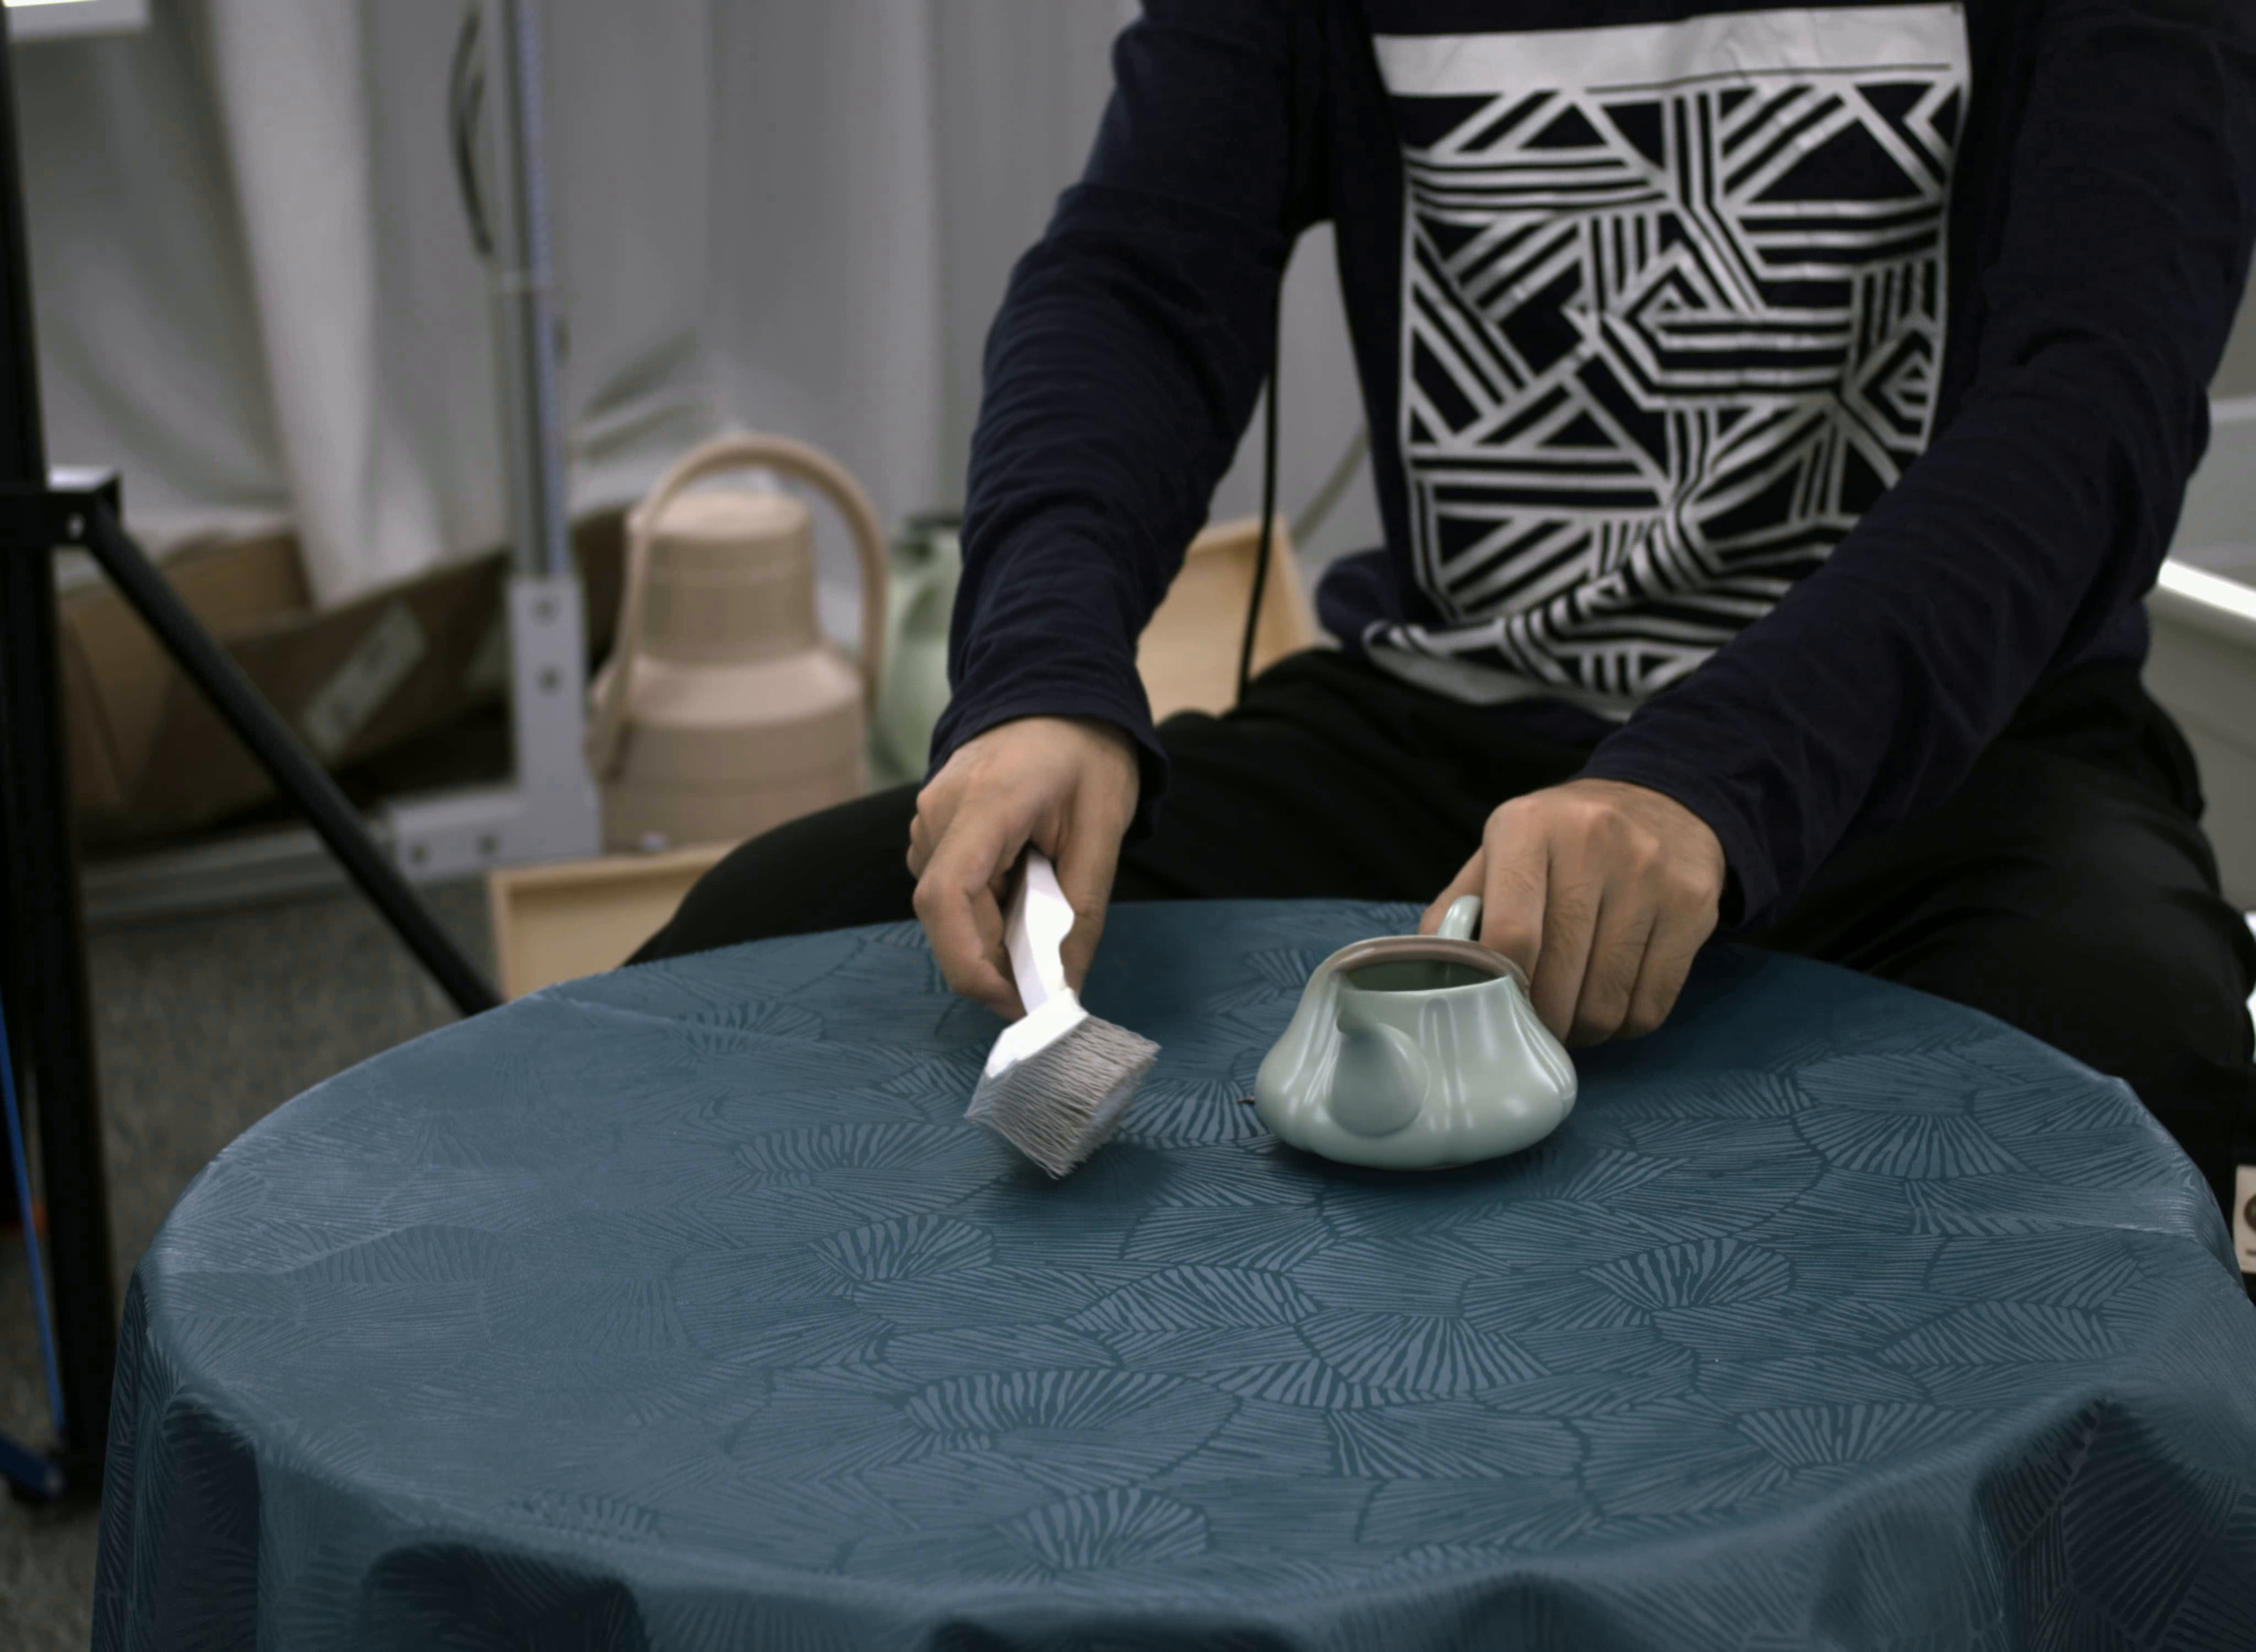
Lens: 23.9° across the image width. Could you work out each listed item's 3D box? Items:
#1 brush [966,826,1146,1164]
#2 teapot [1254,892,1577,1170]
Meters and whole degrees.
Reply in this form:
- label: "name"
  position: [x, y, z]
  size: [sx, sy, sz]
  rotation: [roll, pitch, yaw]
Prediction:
- label: "brush"
  position: [-0.021, 0.049, 1.663]
  size: [0.050, 0.034, 0.244]
  rotation: [19, 15, -6]
- label: "teapot"
  position: [0.087, 0.065, 1.589]
  size: [0.097, 0.061, 0.135]
  rotation: [0, 16, 19]
